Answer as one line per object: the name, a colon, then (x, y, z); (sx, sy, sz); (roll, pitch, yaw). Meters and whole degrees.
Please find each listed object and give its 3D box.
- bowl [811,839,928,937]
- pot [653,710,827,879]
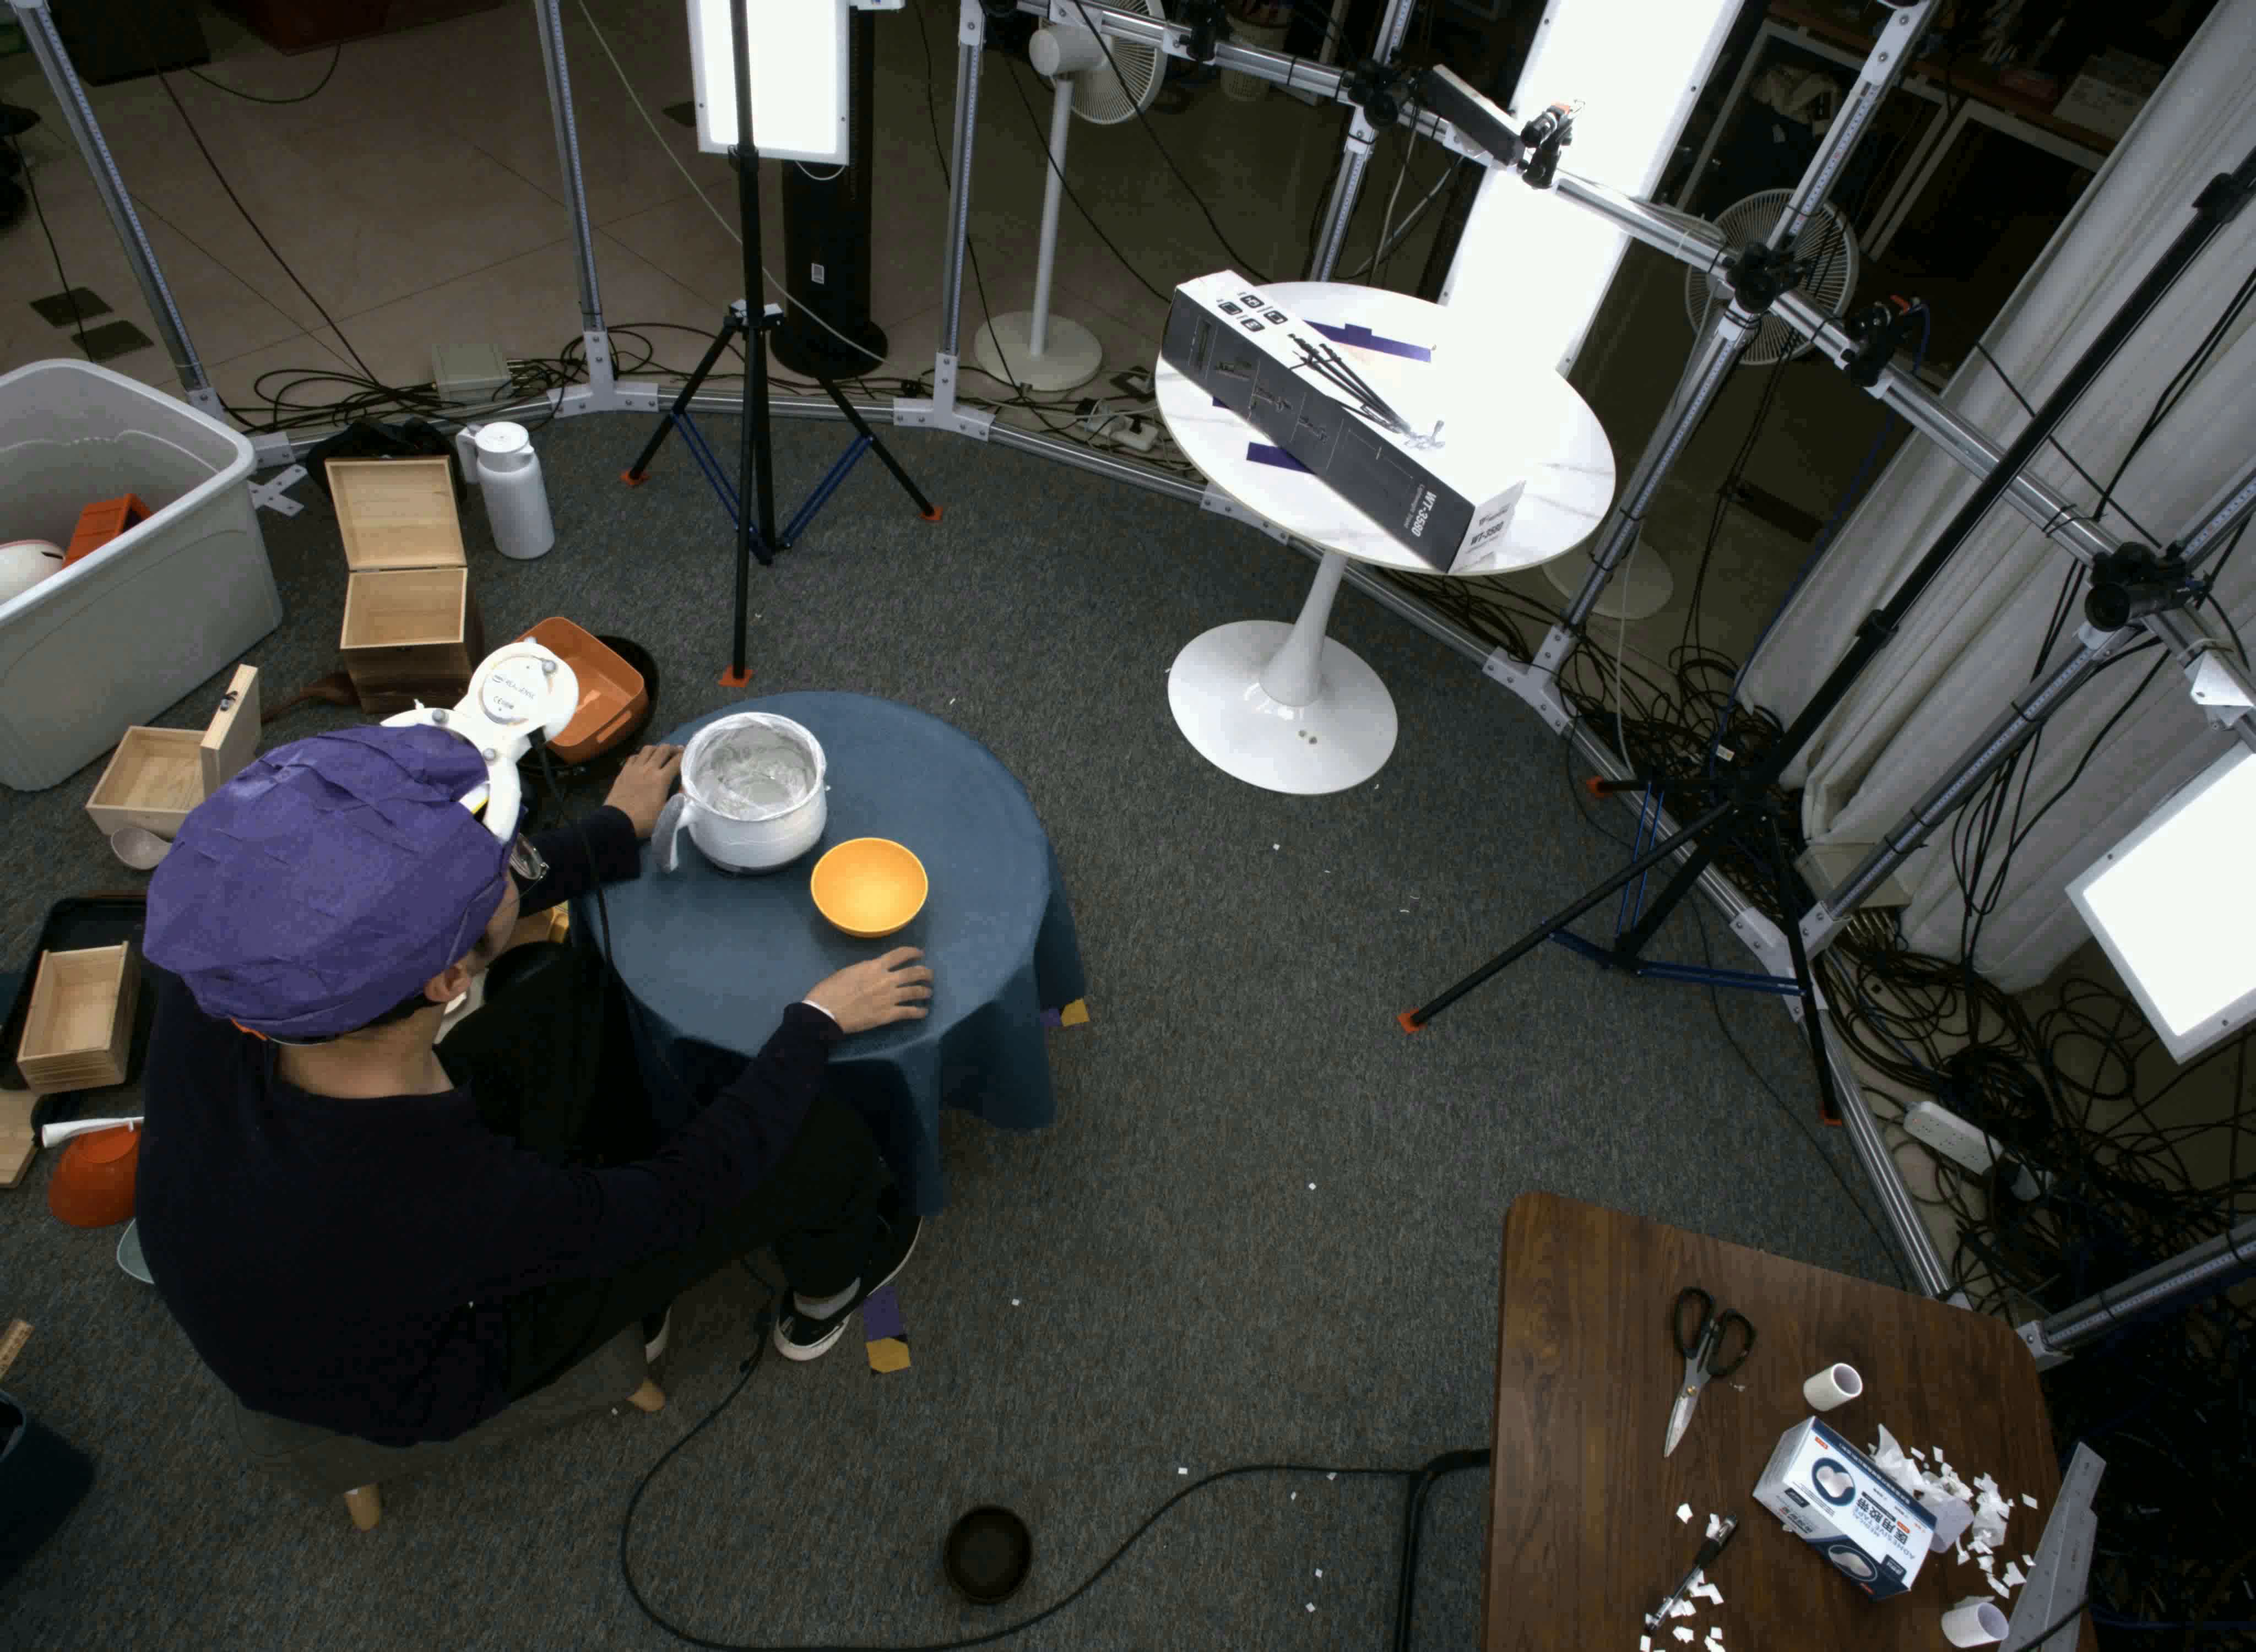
bowl: (-0.328, 0.089, 1.654); (0.145, 0.061, 0.142); (8, 51, -8)
pot: (-0.498, -0.028, 1.647); (0.234, 0.140, 0.174); (-31, 63, -32)
